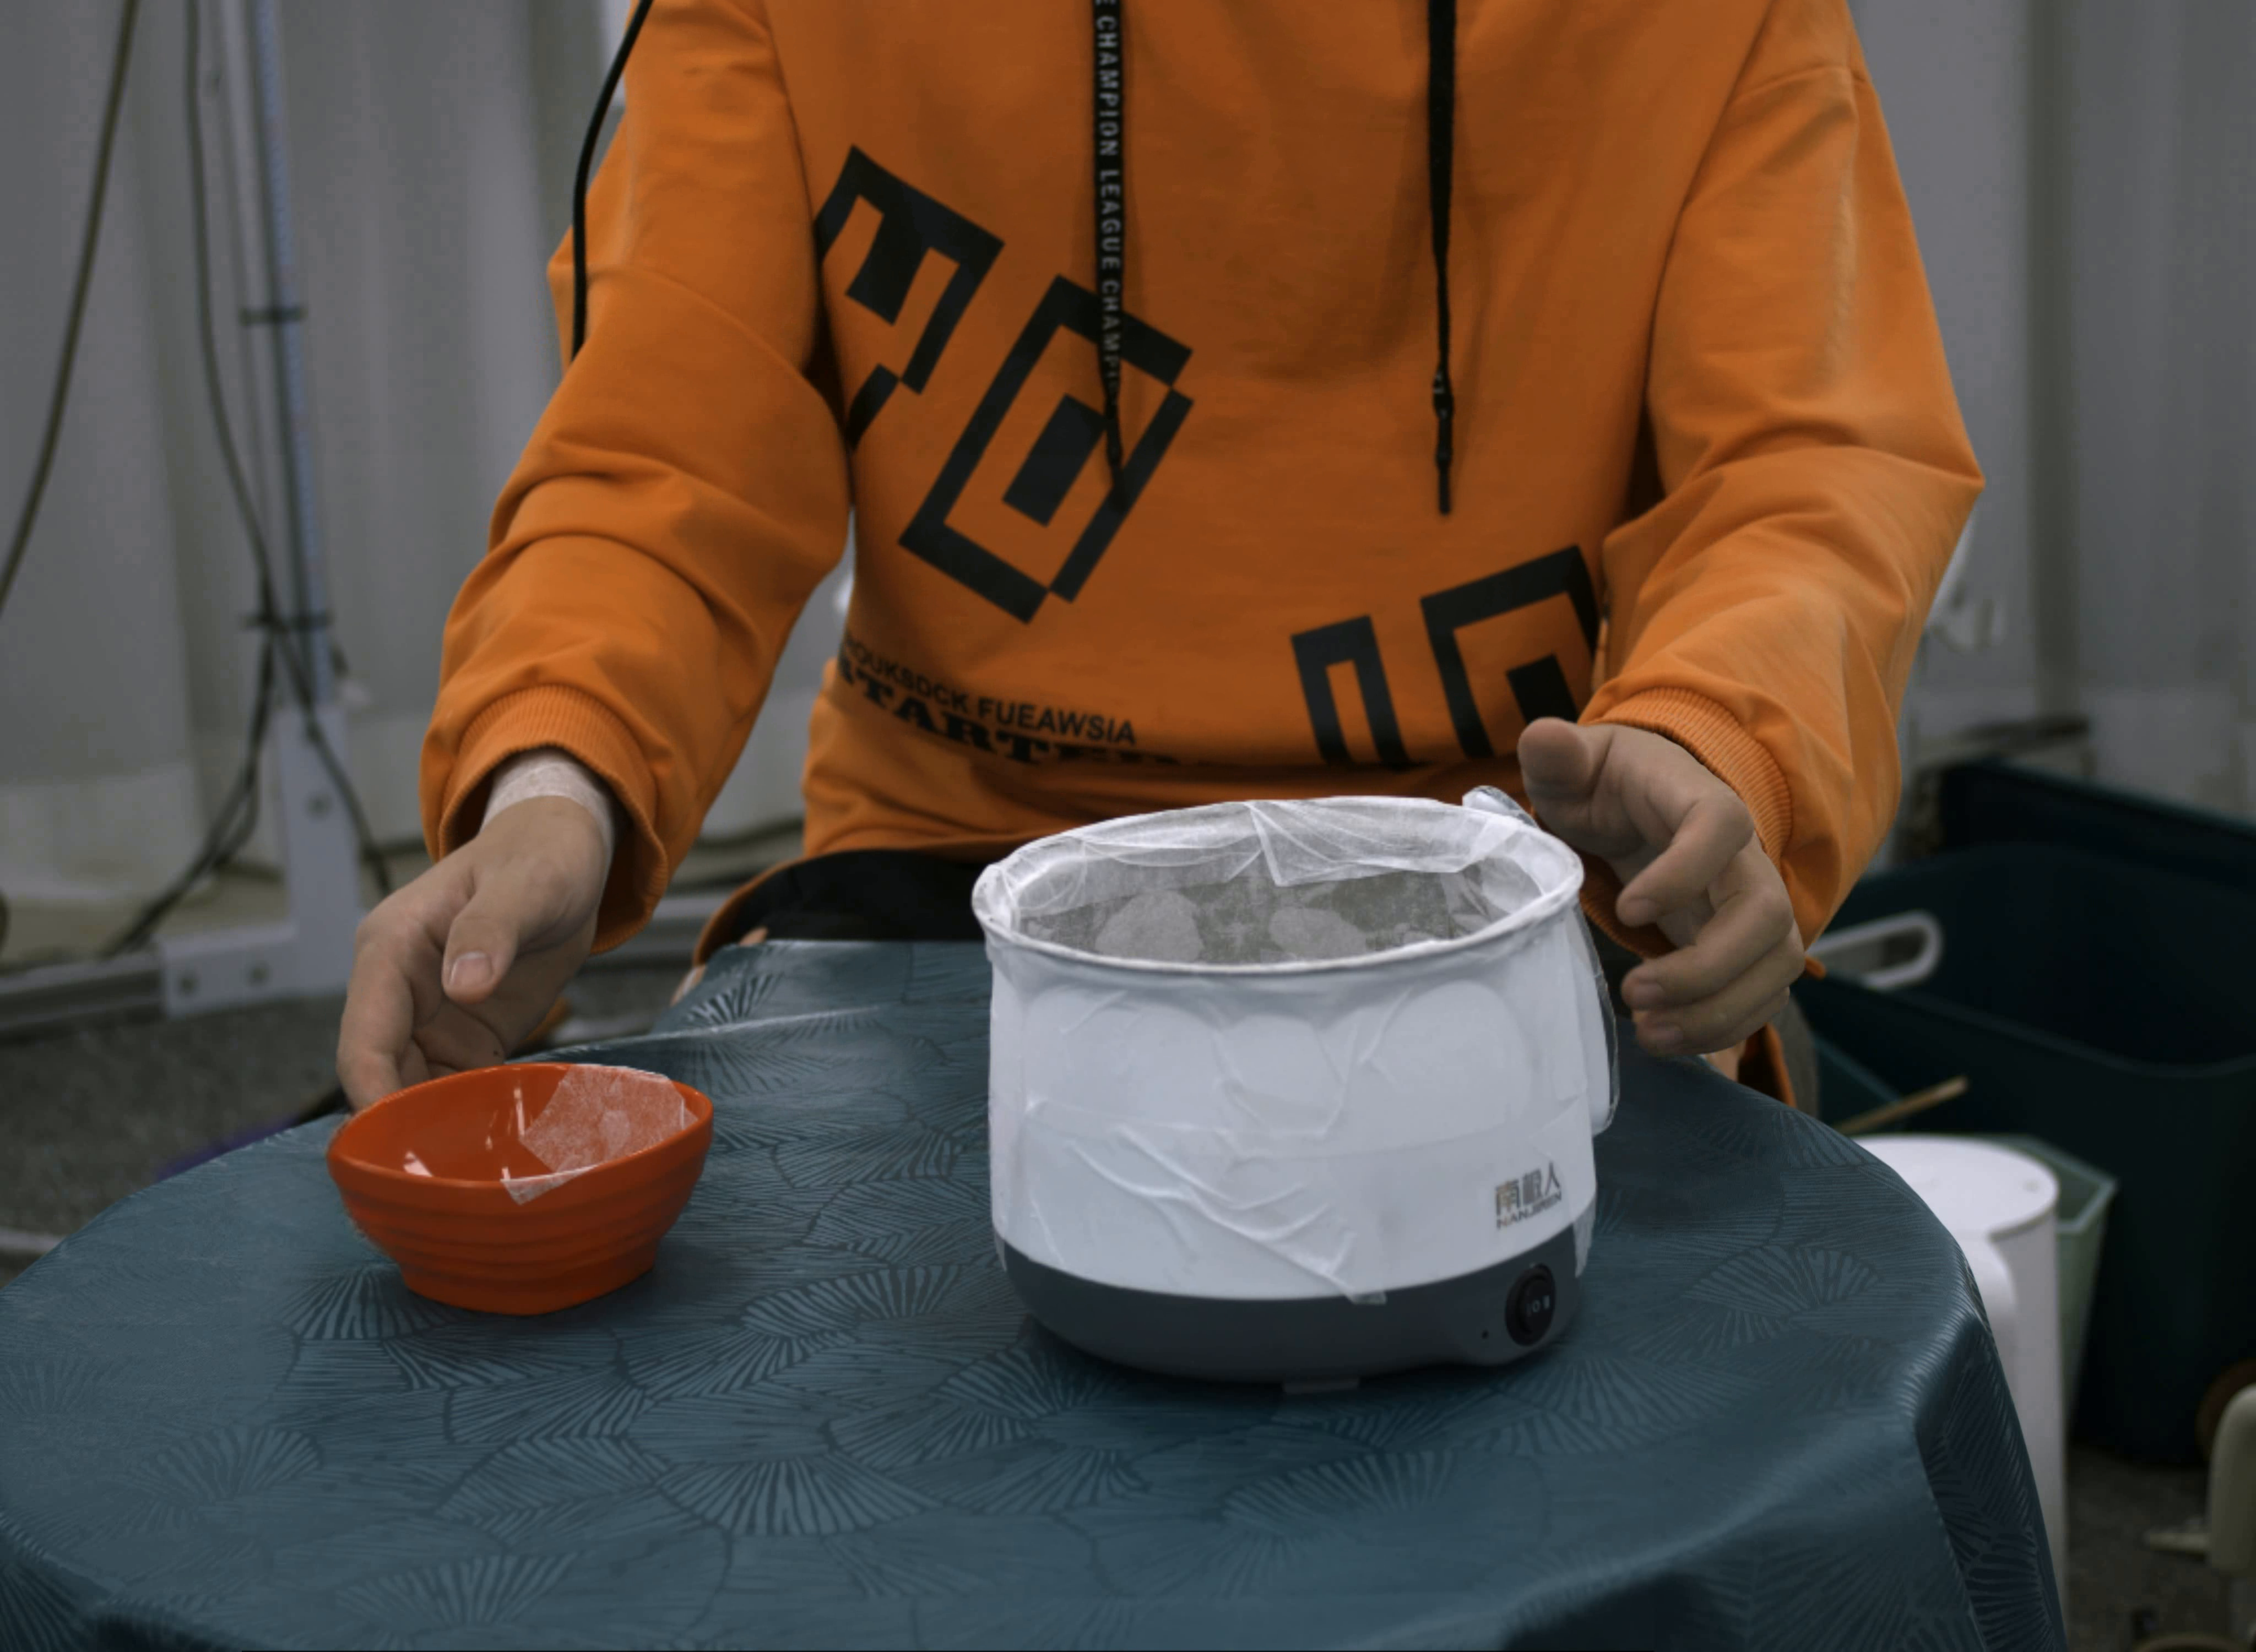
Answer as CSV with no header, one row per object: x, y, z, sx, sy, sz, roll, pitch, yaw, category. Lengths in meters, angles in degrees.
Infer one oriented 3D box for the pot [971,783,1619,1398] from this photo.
0.064,0.070,1.607,0.179,0.136,0.233,10,20,38,pot

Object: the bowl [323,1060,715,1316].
-0.183,0.112,1.663,0.118,0.051,0.120,-4,15,1,bowl
